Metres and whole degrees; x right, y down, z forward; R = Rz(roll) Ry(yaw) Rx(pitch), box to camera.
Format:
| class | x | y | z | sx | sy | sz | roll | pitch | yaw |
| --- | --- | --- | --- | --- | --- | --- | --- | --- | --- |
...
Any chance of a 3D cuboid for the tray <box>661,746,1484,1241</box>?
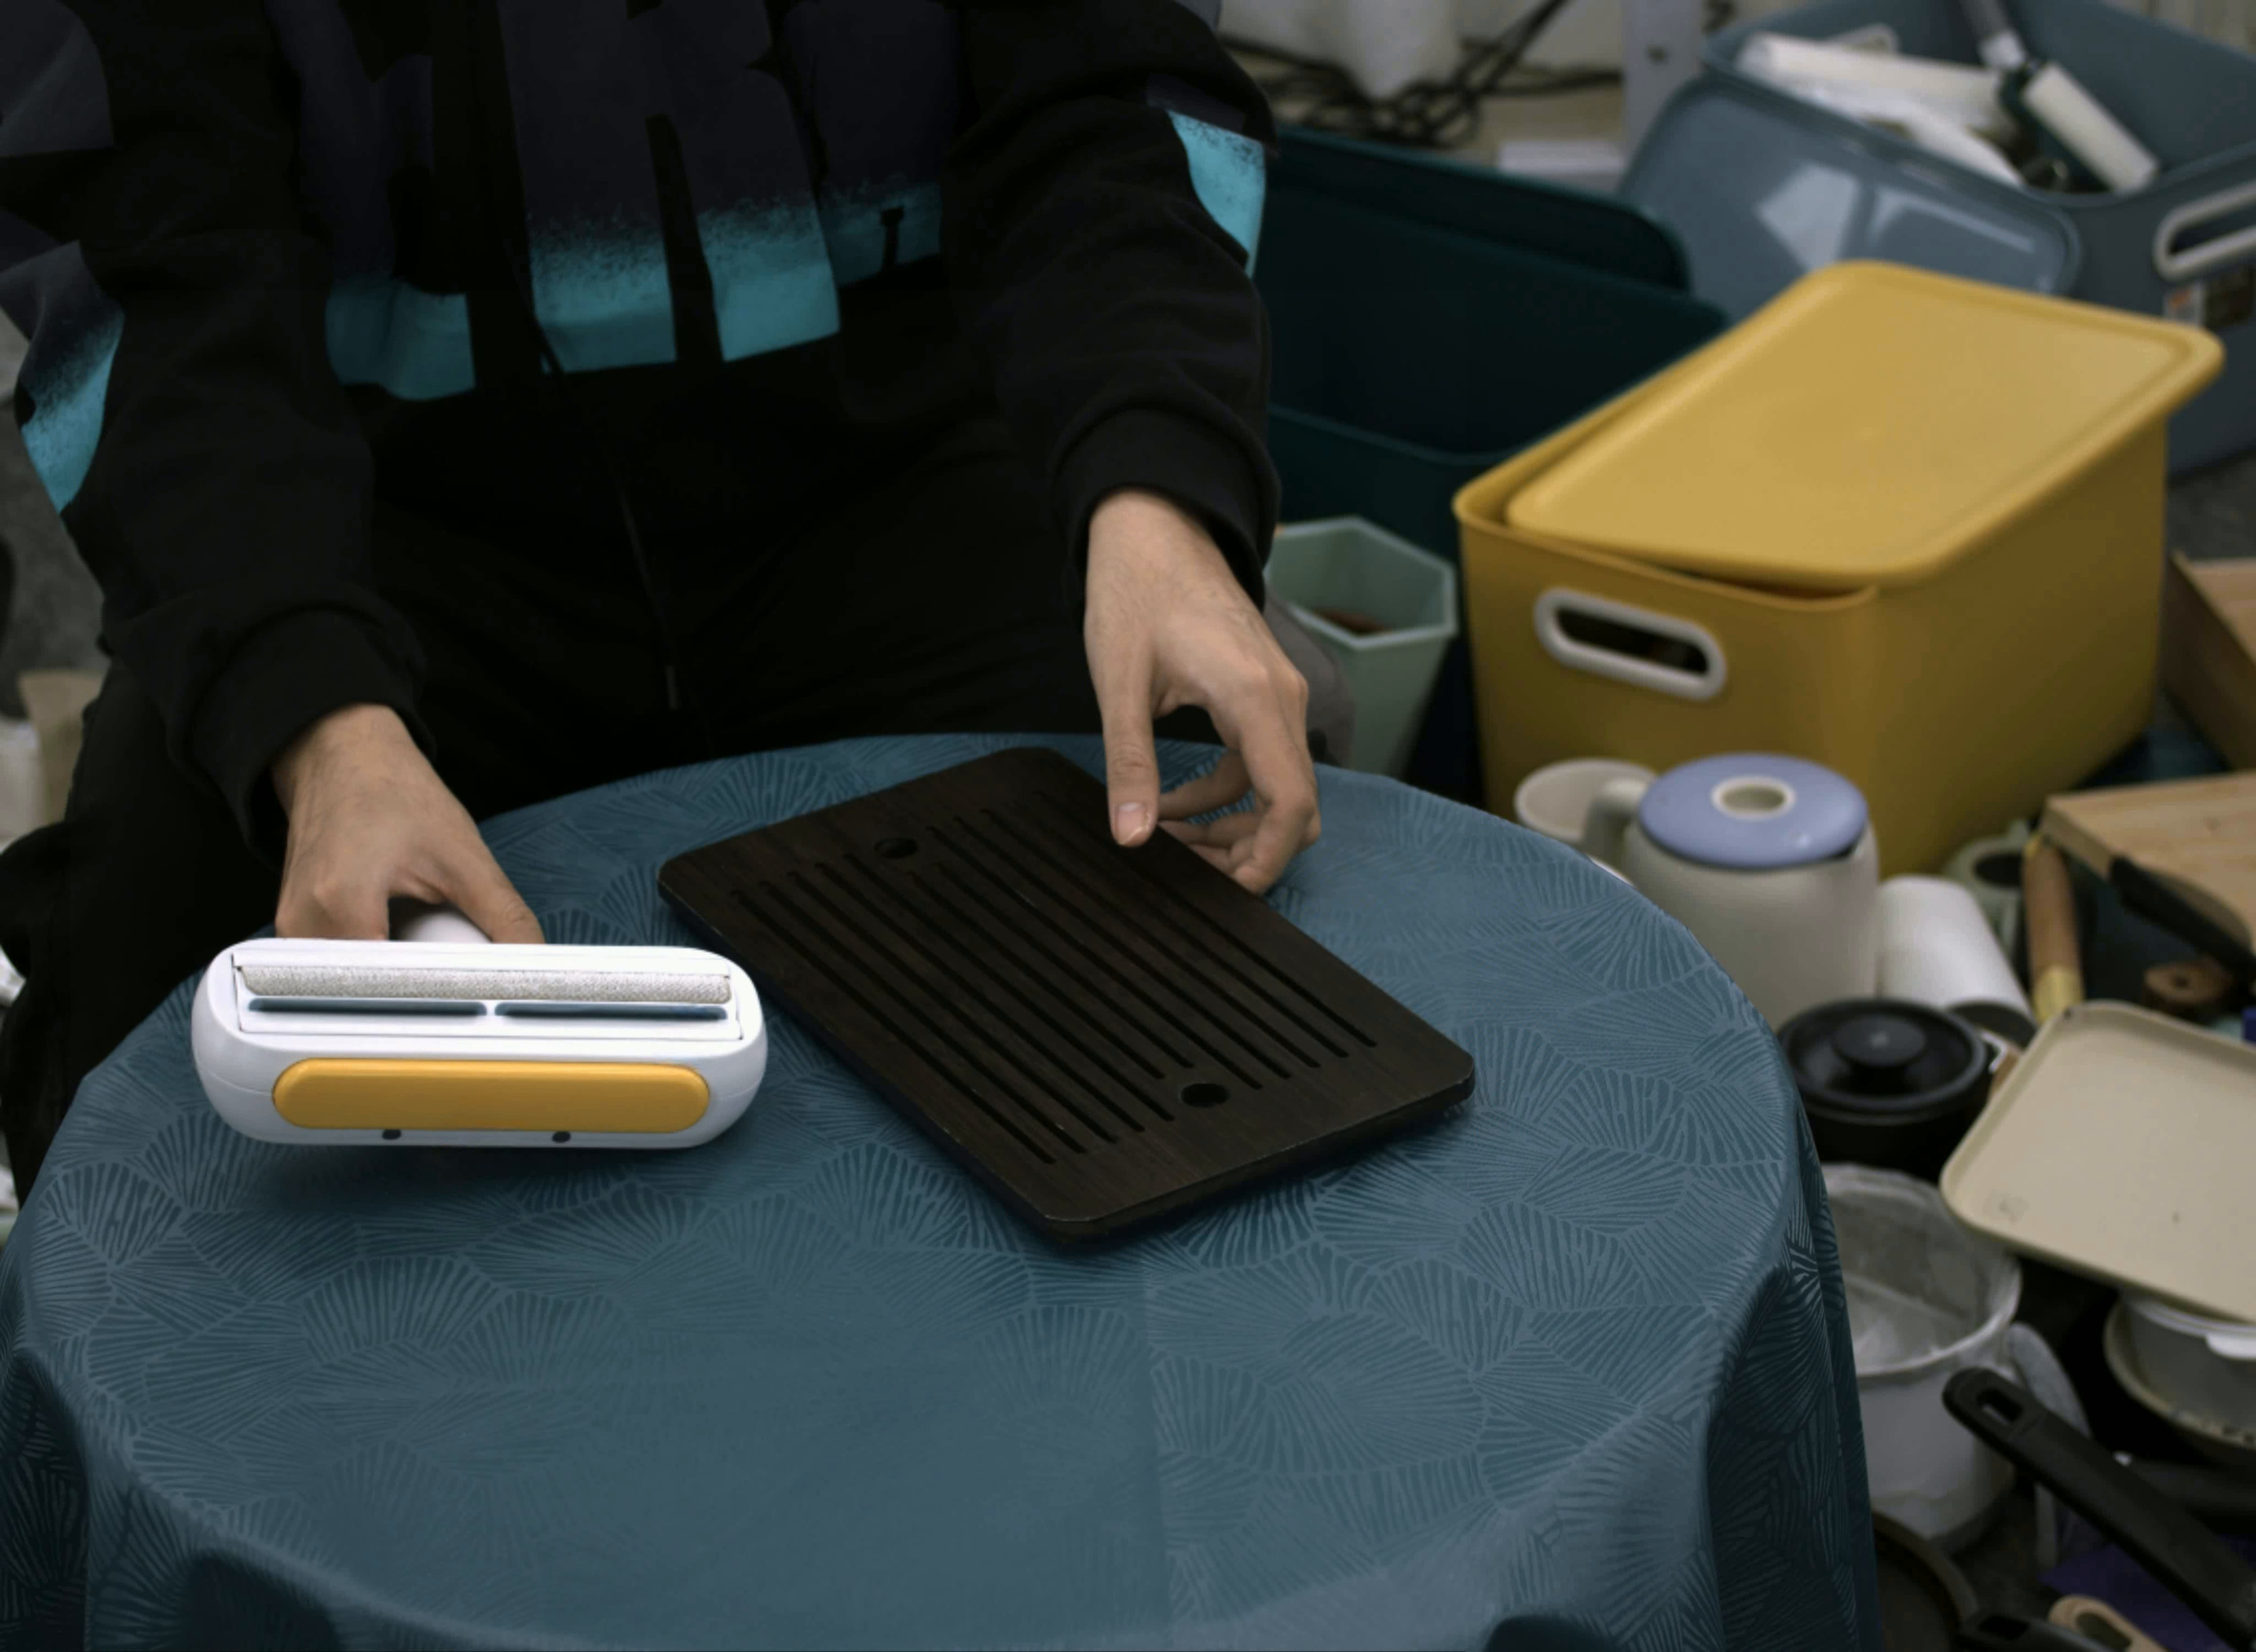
| class | x | y | z | sx | sy | sz | roll | pitch | yaw |
| --- | --- | --- | --- | --- | --- | --- | --- | --- | --- |
| tray | -0.025 | 0.055 | 1.971 | 0.171 | 0.018 | 0.307 | -18 | 31 | -26 |

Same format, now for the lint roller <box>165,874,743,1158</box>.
| class | x | y | z | sx | sy | sz | roll | pitch | yaw |
| --- | --- | --- | --- | --- | --- | --- | --- | --- | --- |
| lint roller | -0.234 | 0.053 | 1.938 | 0.192 | 0.073 | 0.195 | -1 | 27 | -10 |
